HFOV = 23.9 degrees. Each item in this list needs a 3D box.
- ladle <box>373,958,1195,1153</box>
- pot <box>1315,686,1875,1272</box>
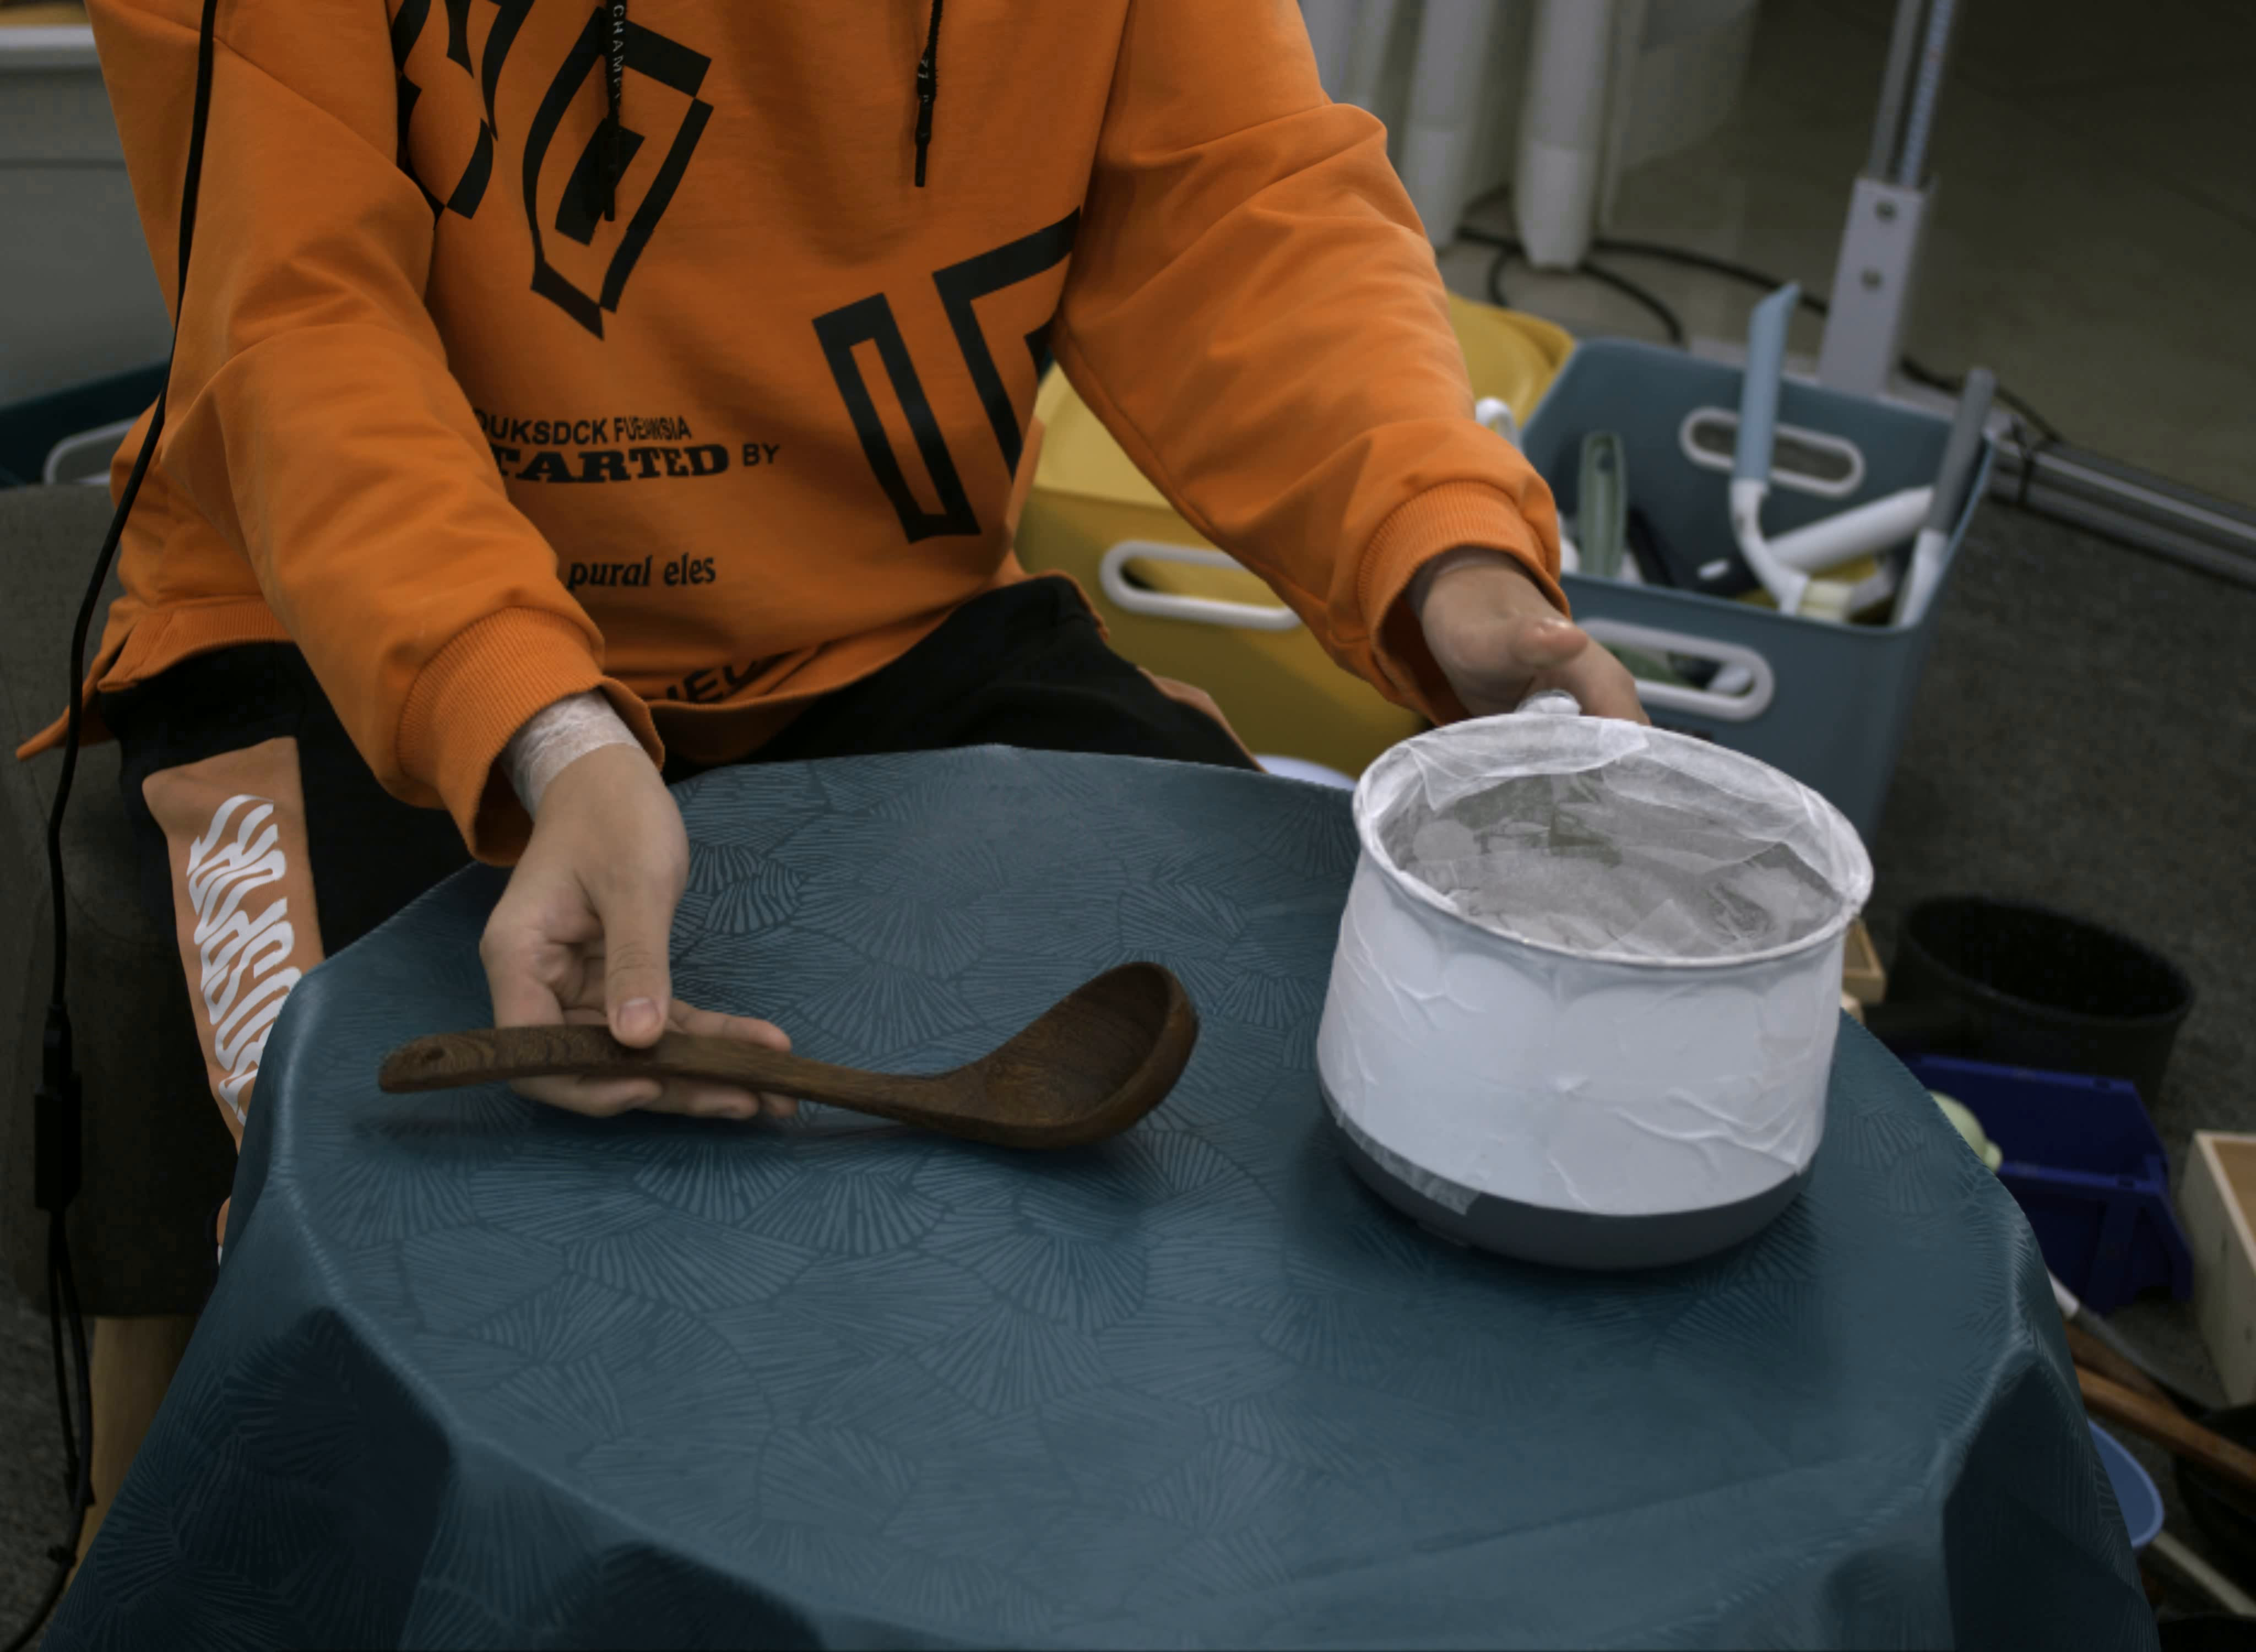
[{"bbox_3d":[-0.114,0.068,1.796,0.272,0.071,0.076,6,25,-12],"label":"ladle"},{"bbox_3d":[0.151,0.045,1.839,0.178,0.136,0.235,2,28,-11],"label":"pot"}]
